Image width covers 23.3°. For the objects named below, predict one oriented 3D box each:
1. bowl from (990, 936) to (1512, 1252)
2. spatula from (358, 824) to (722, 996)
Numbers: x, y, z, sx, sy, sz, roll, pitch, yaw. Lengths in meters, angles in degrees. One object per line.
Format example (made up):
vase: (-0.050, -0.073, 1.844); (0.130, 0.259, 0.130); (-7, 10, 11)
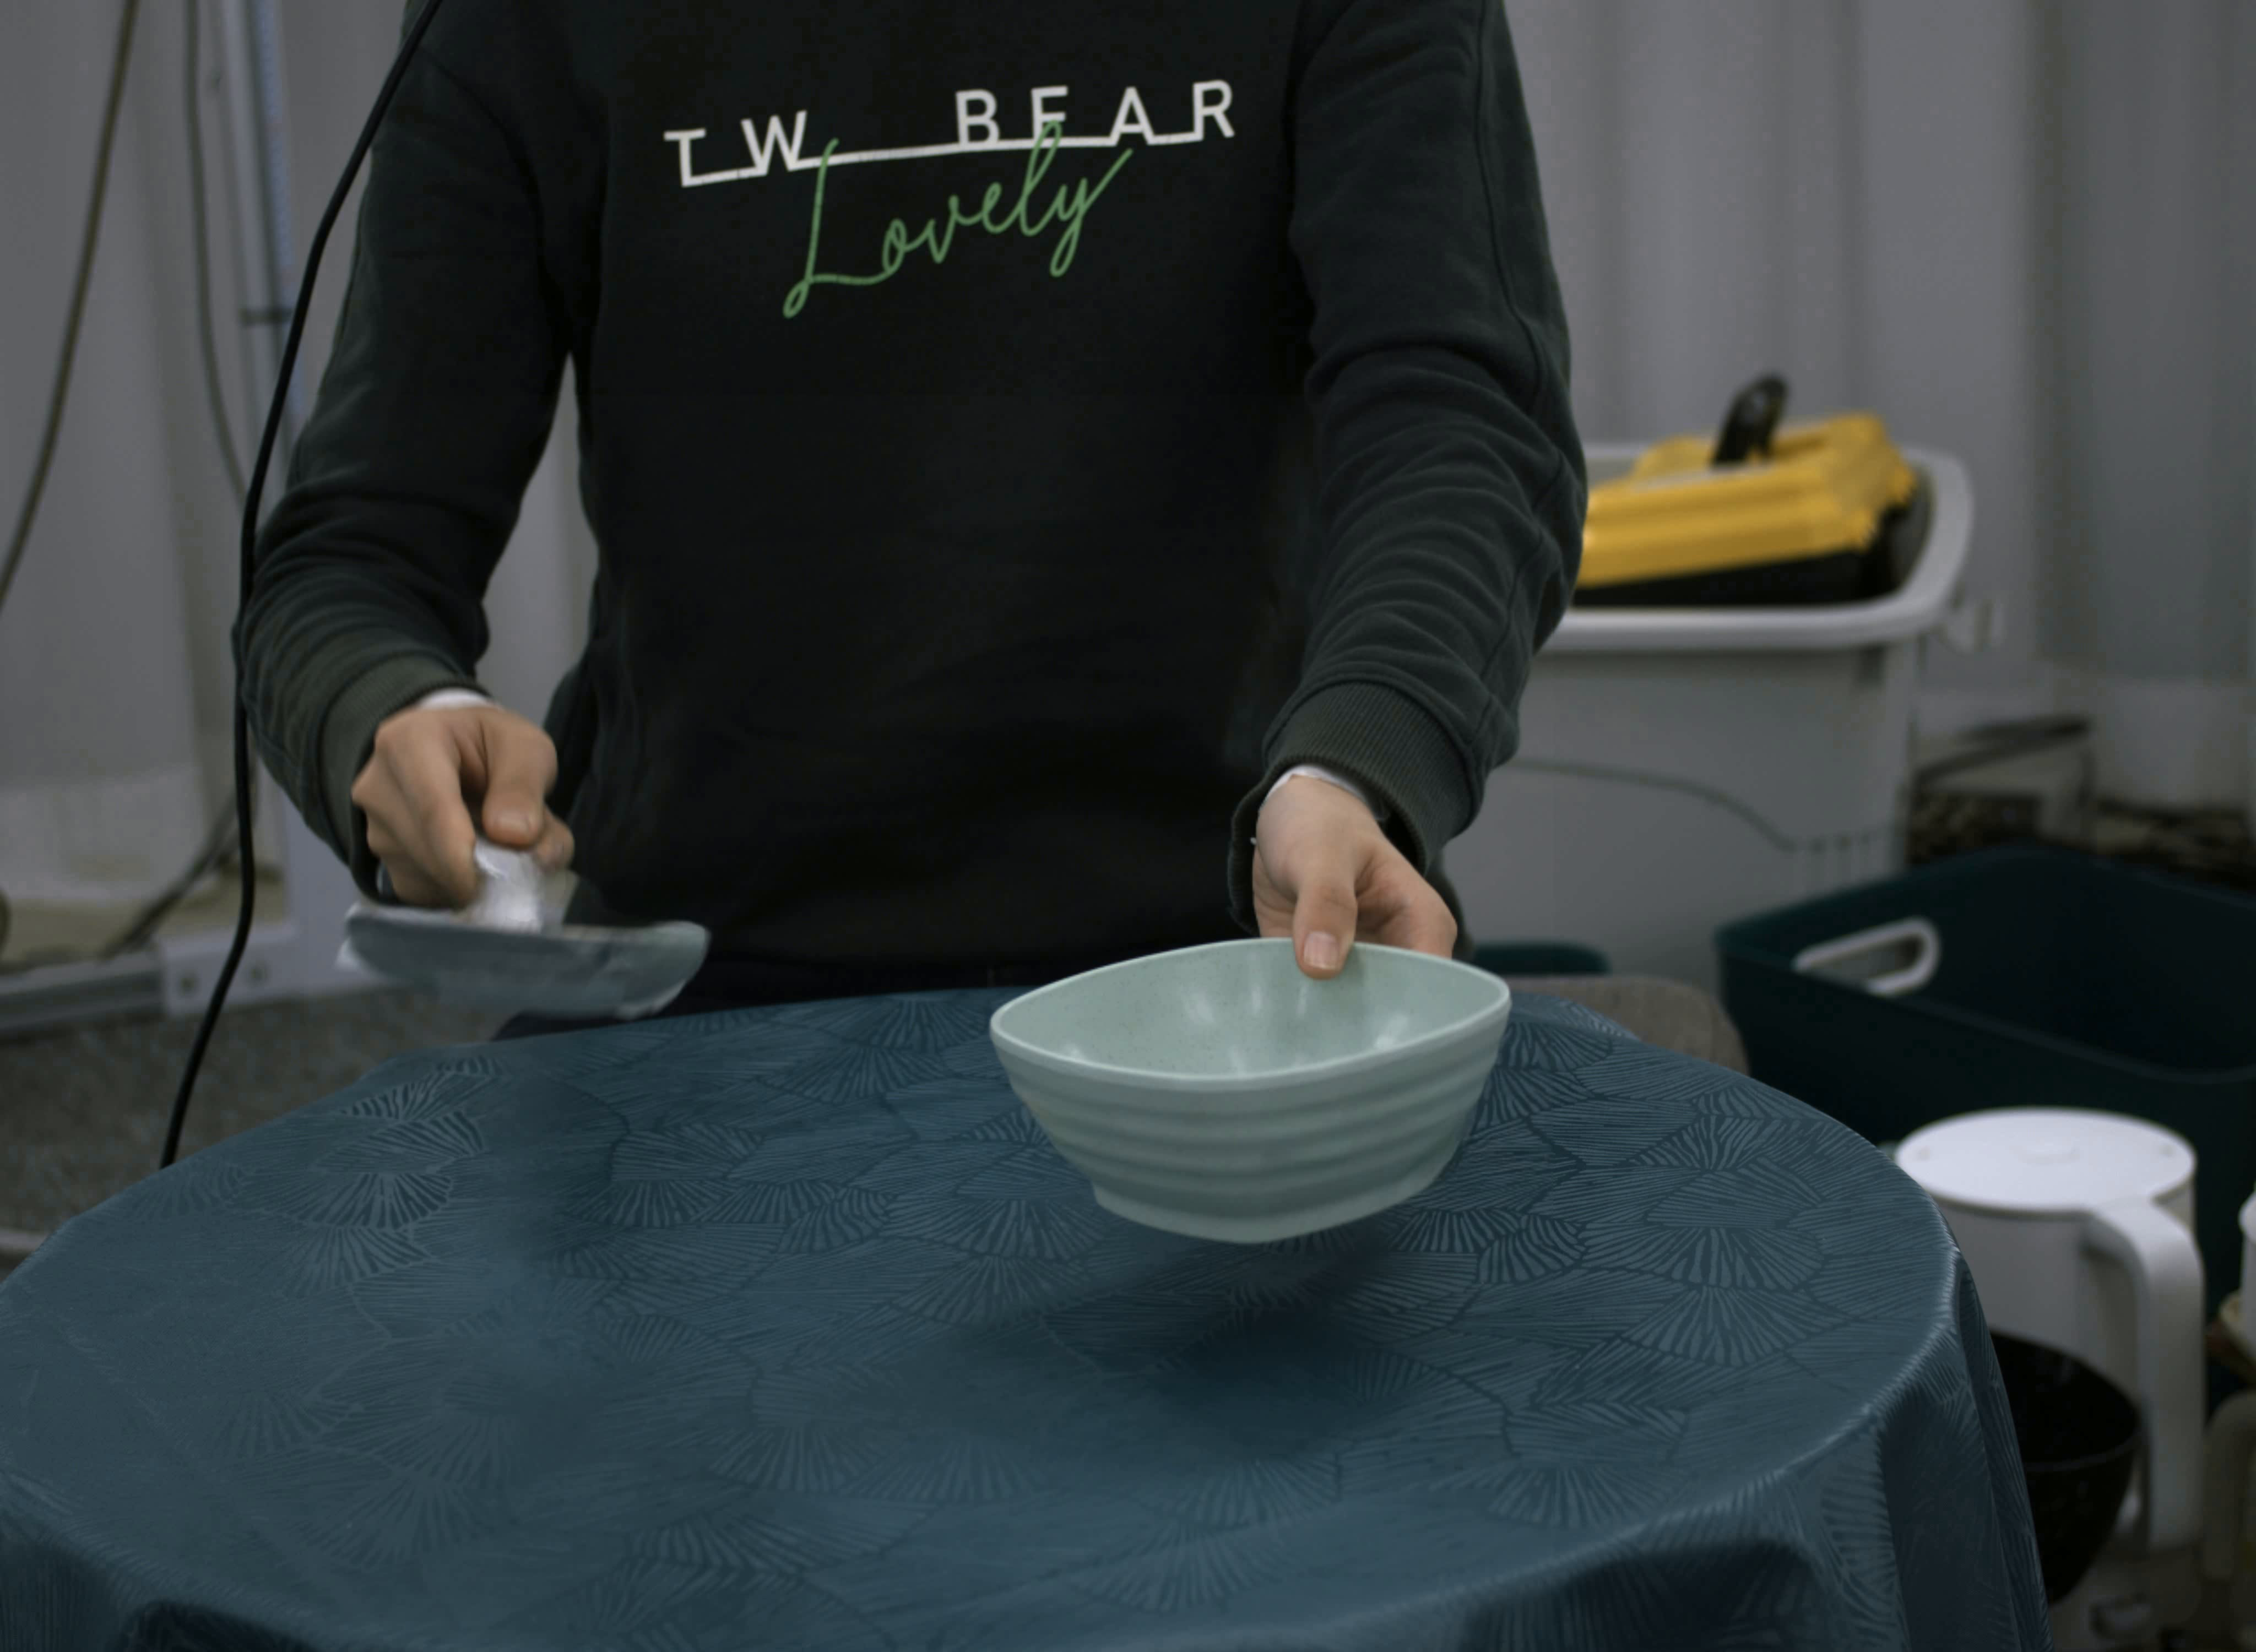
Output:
bowl: (0.037, 0.080, 1.583); (0.151, 0.058, 0.152); (-3, 14, 1)
spatula: (-0.177, 0.013, 1.627); (0.098, 0.045, 0.366); (2, 8, -7)
